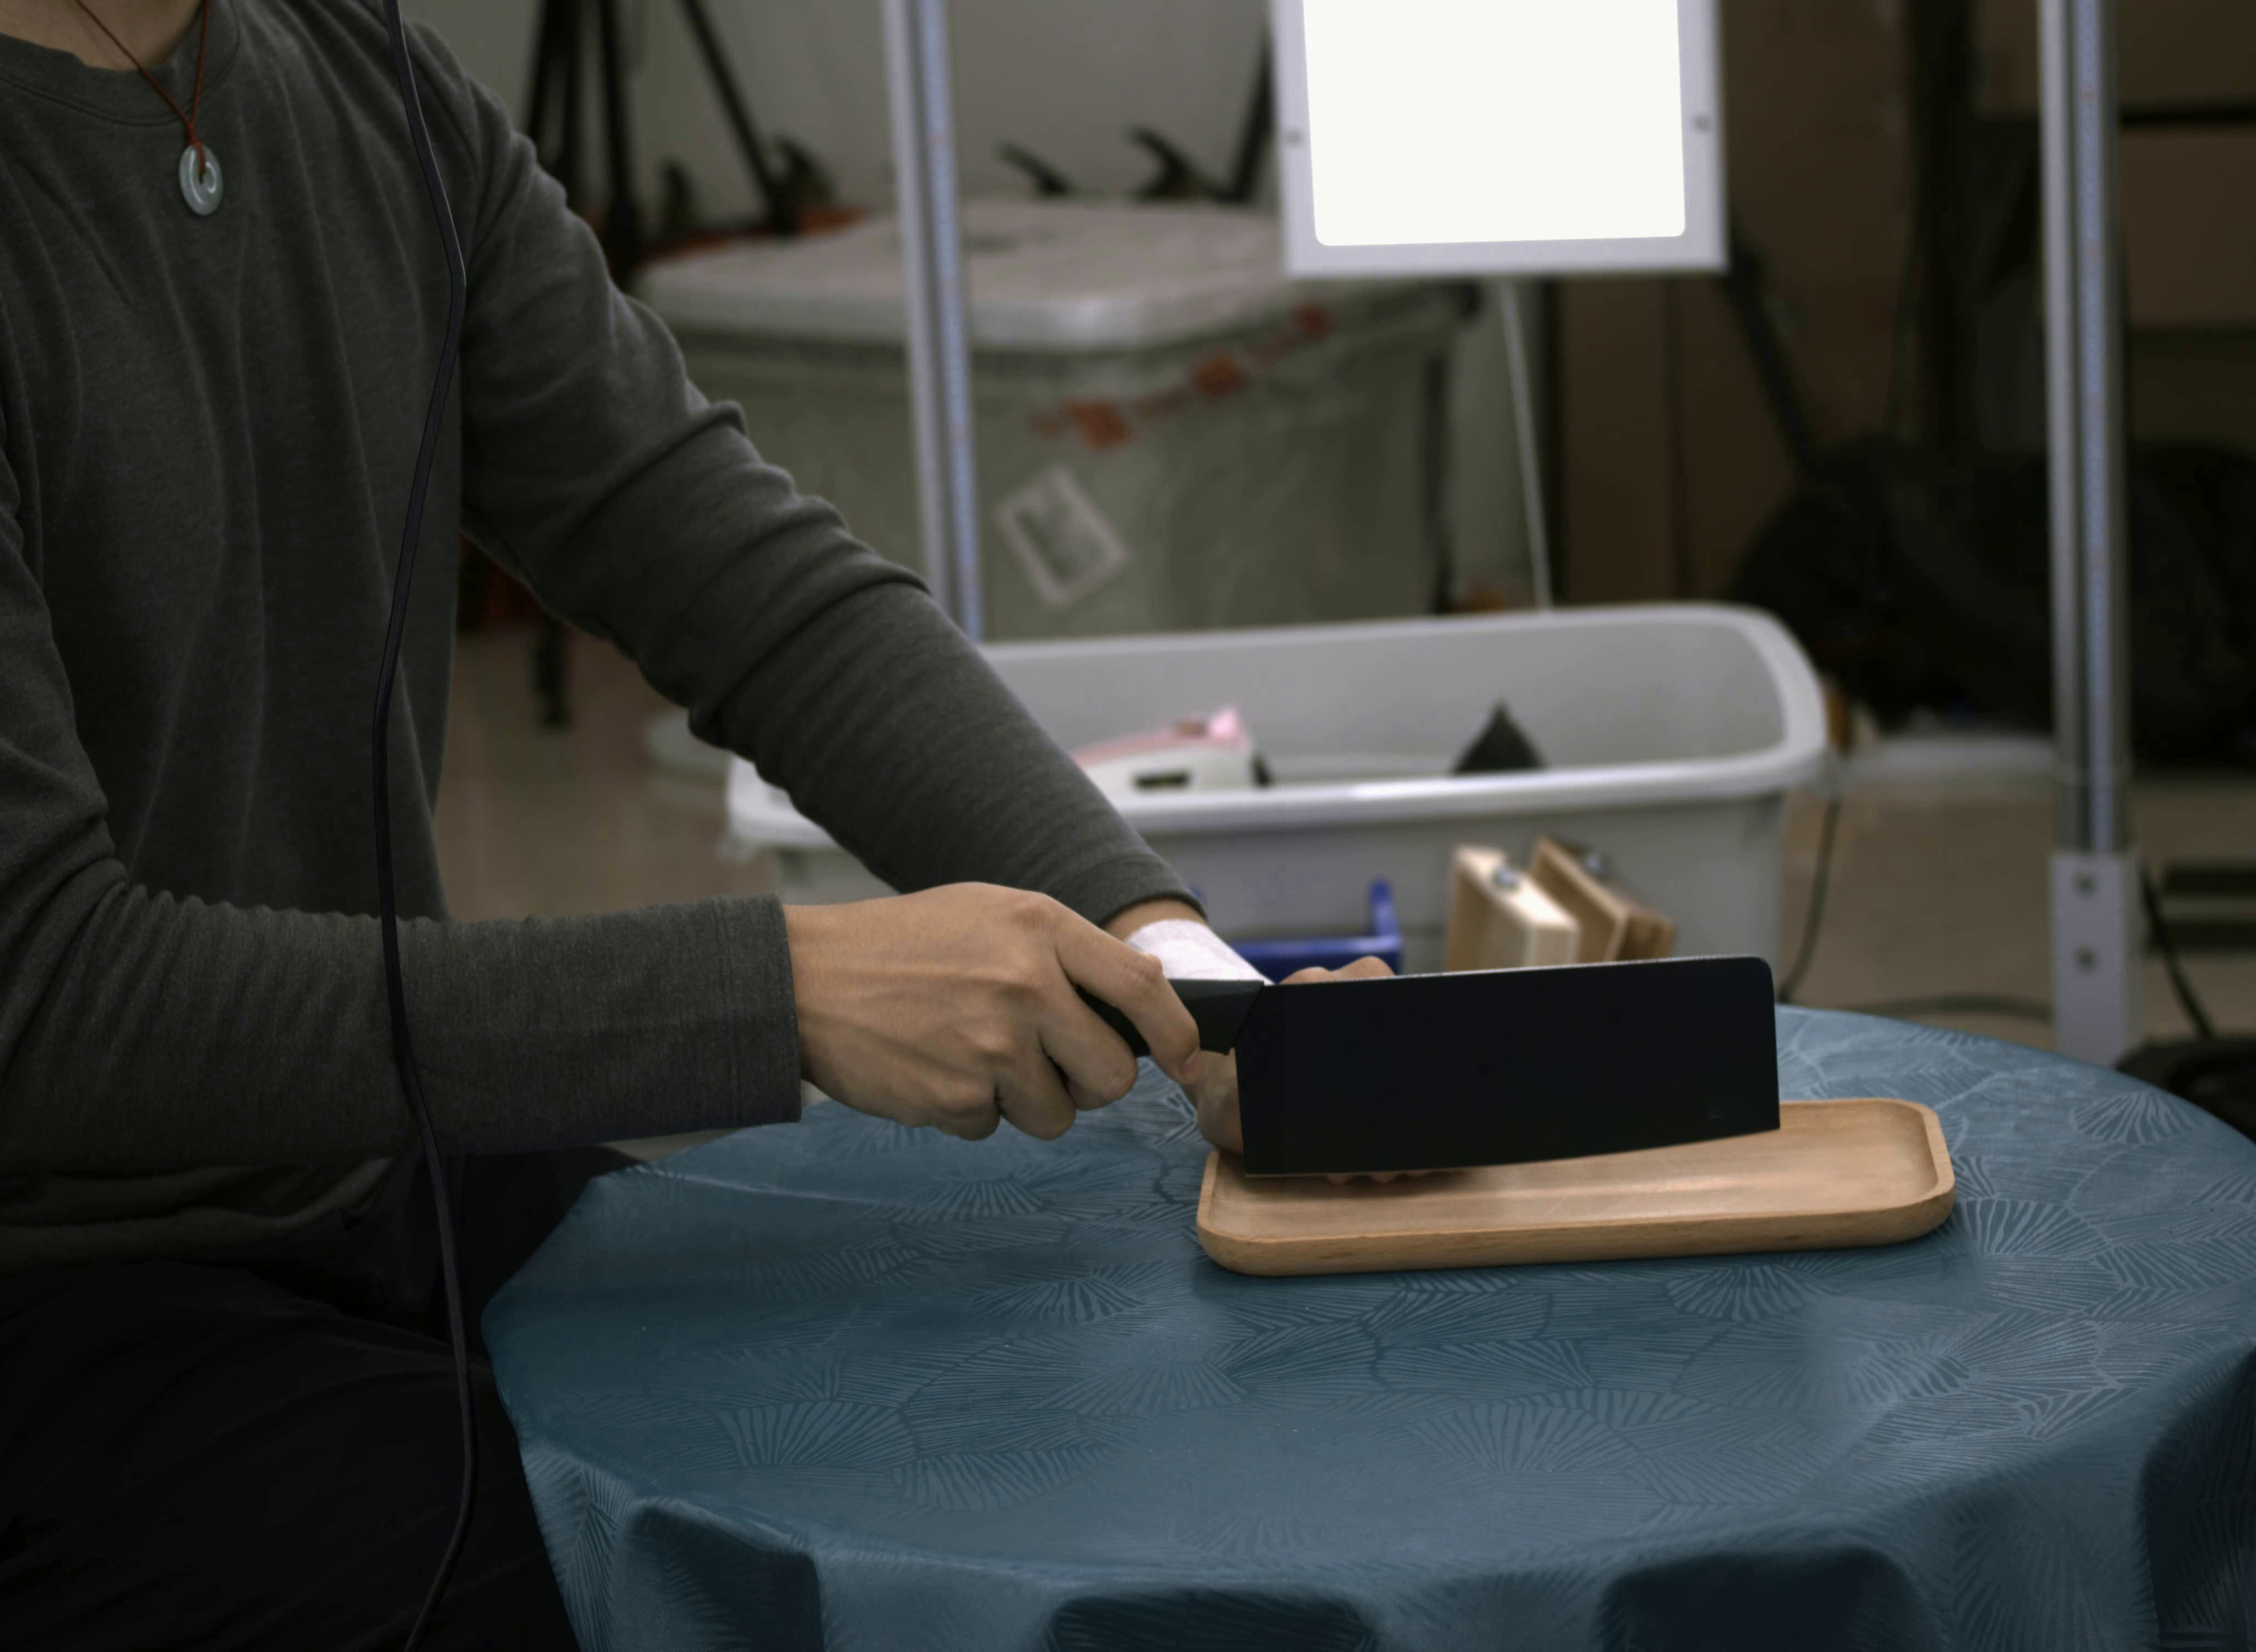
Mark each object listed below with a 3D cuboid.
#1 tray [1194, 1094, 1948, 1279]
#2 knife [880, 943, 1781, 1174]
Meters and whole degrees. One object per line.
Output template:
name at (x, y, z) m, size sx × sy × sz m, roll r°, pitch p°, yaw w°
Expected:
tray at (0.149, 0.121, 1.840) m, size 0.252 × 0.023 × 0.129 m, roll -4°, pitch 11°, yaw 8°
knife at (0.067, 0.077, 1.835) m, size 0.303 × 0.081 × 0.021 m, roll 0°, pitch 8°, yaw 7°
